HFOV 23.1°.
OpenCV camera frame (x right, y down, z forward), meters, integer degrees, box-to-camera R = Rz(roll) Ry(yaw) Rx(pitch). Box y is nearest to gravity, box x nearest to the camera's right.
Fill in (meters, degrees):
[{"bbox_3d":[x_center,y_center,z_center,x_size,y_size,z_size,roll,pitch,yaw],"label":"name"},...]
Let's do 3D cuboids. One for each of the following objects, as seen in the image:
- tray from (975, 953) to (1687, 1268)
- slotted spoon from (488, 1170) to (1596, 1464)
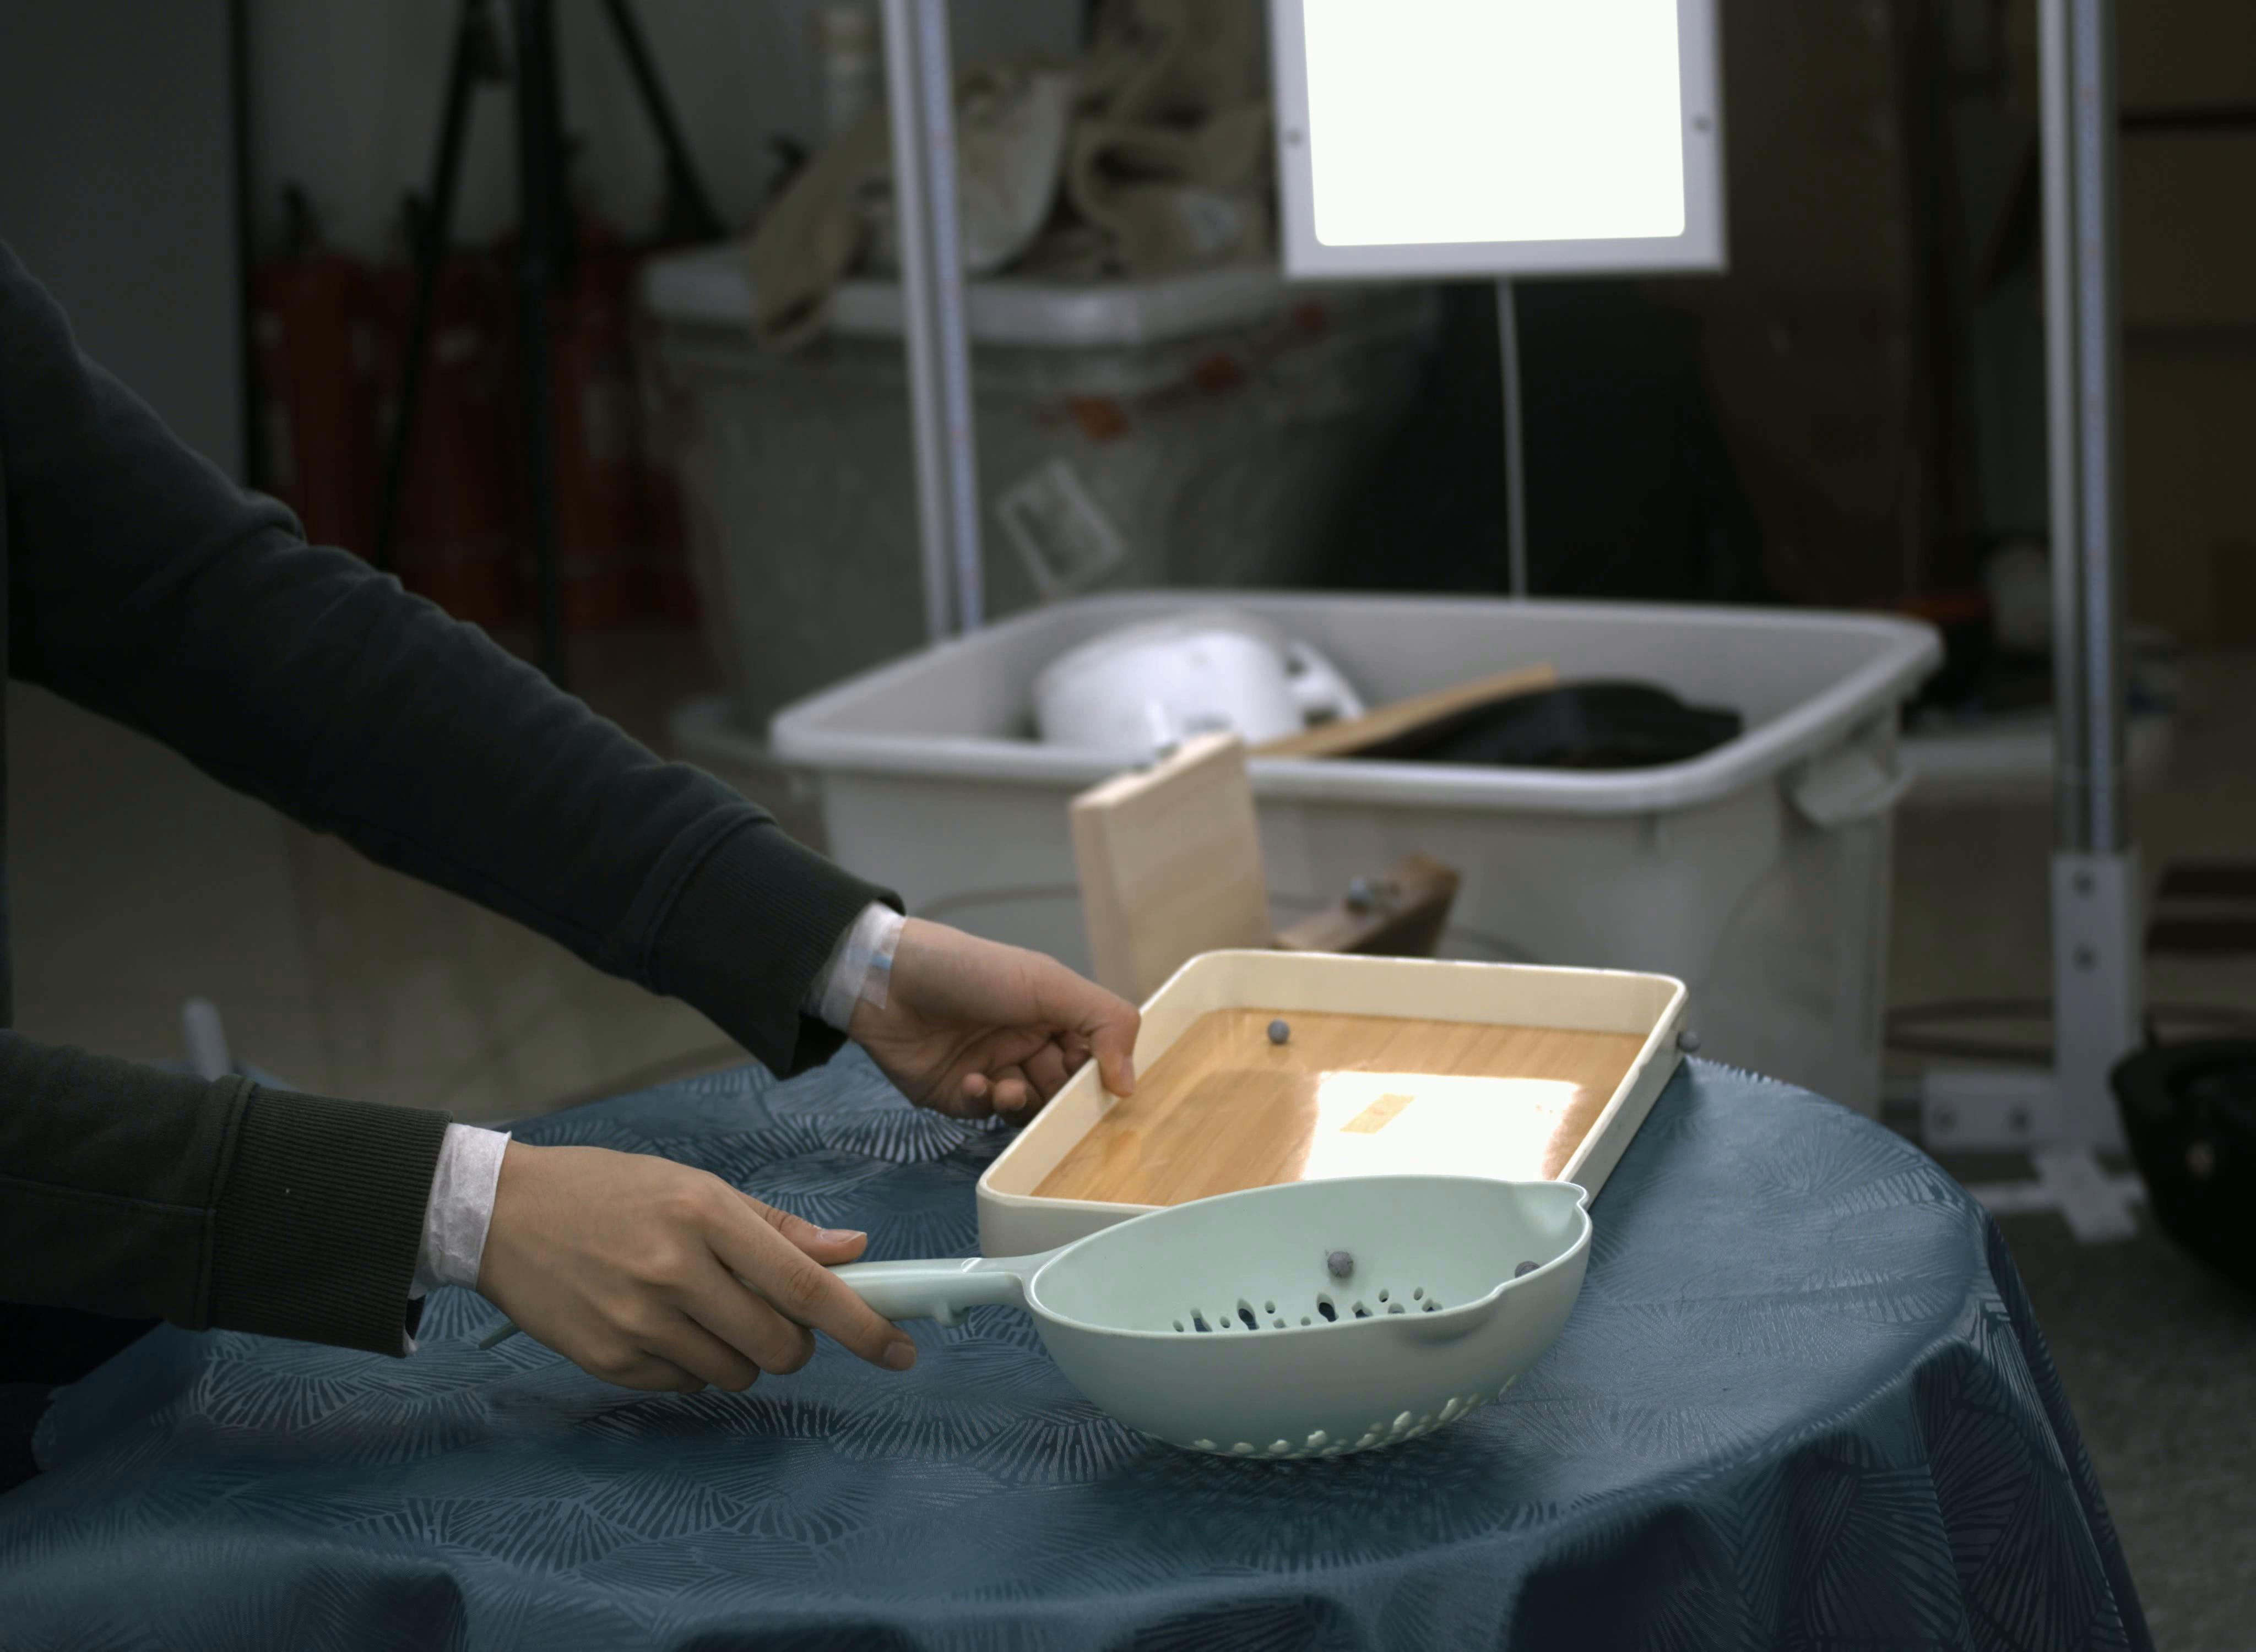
[{"bbox_3d":[0.077,0.099,1.903,0.194,0.027,0.295,3,15,17],"label":"tray"},{"bbox_3d":[-0.034,0.145,1.677,0.364,0.076,0.166,4,14,21],"label":"slotted spoon"}]
